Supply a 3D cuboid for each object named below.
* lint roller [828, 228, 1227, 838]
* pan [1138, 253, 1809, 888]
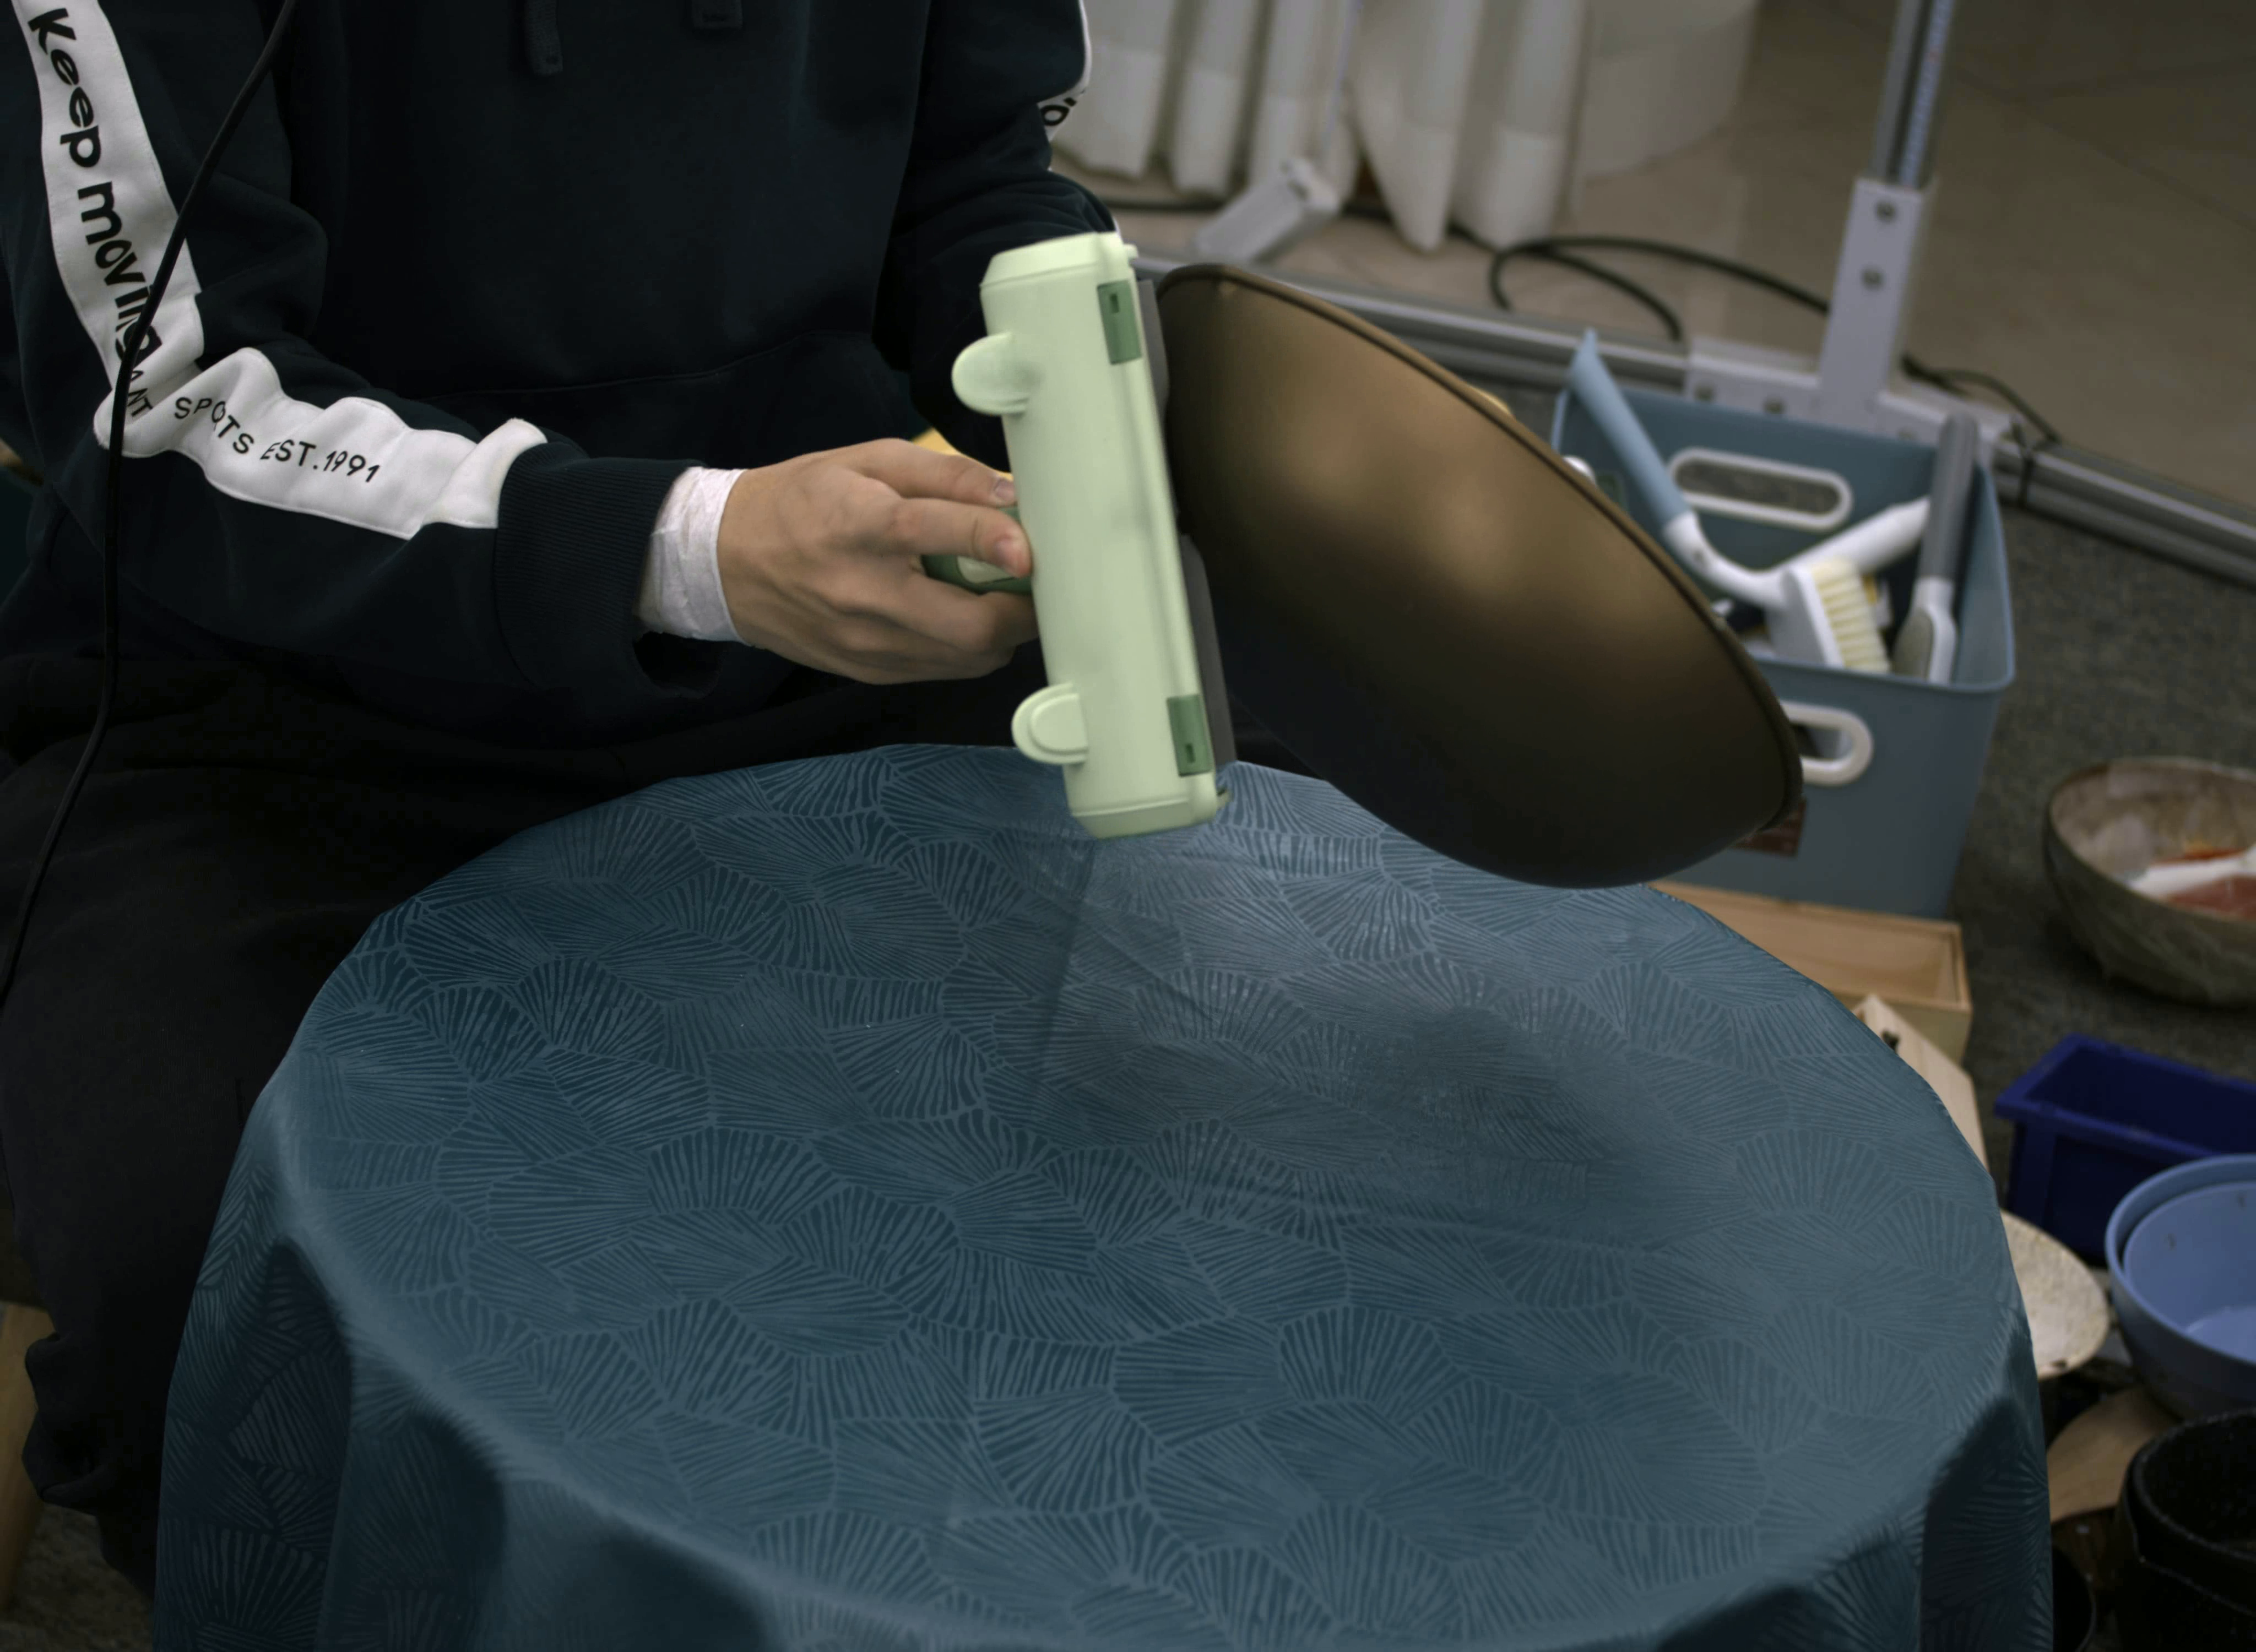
[{"bbox_3d":[-0.054,-0.089,1.779,0.184,0.199,0.082,-8,3,42],"label":"lint roller"},{"bbox_3d":[0.049,-0.082,1.881,0.087,0.286,0.466,-50,28,-13],"label":"pan"}]
